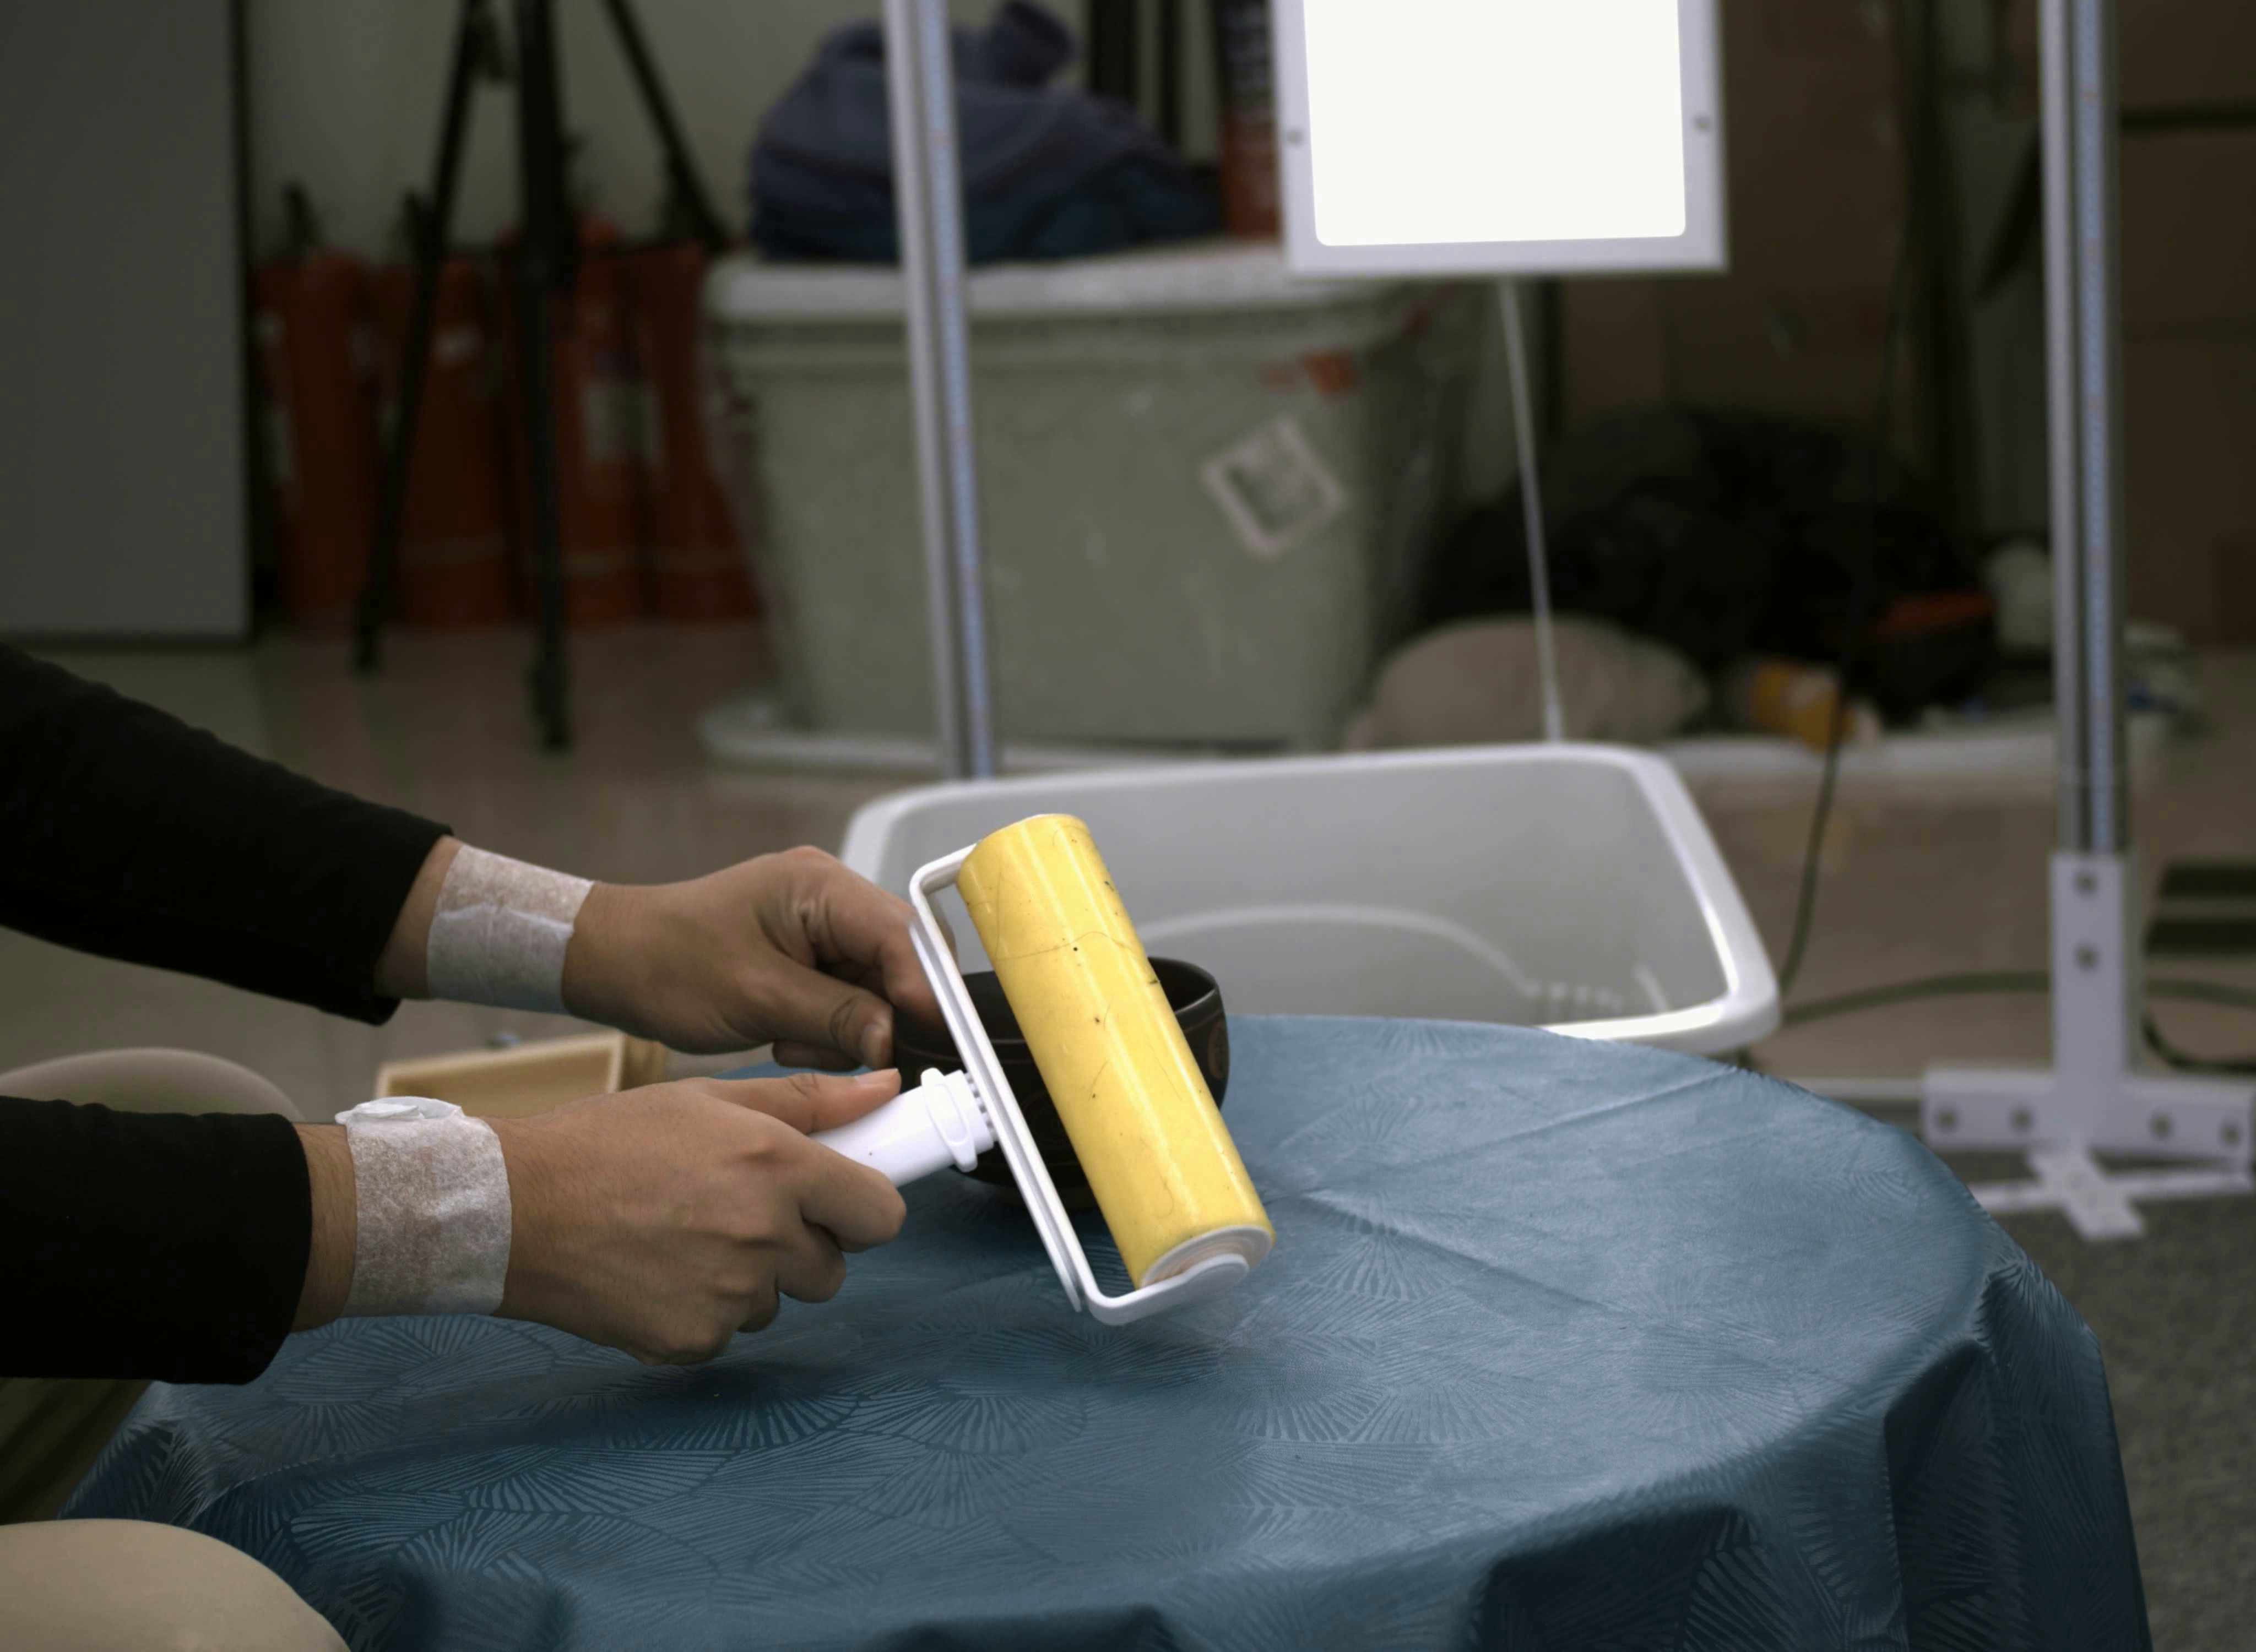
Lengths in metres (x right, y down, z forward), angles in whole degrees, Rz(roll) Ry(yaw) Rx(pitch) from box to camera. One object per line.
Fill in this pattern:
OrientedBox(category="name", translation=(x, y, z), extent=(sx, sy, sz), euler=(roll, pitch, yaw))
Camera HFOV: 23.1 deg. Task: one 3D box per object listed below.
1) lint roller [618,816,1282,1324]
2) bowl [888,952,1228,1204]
OrientedBox(category="lint roller", translation=(-0.070, 0.096, 1.741), extent=(0.189, 0.052, 0.175), euler=(-18, 61, -16))
OrientedBox(category="bowl", translation=(-0.023, 0.089, 1.897), extent=(0.118, 0.070, 0.118), euler=(-6, 11, 0))
